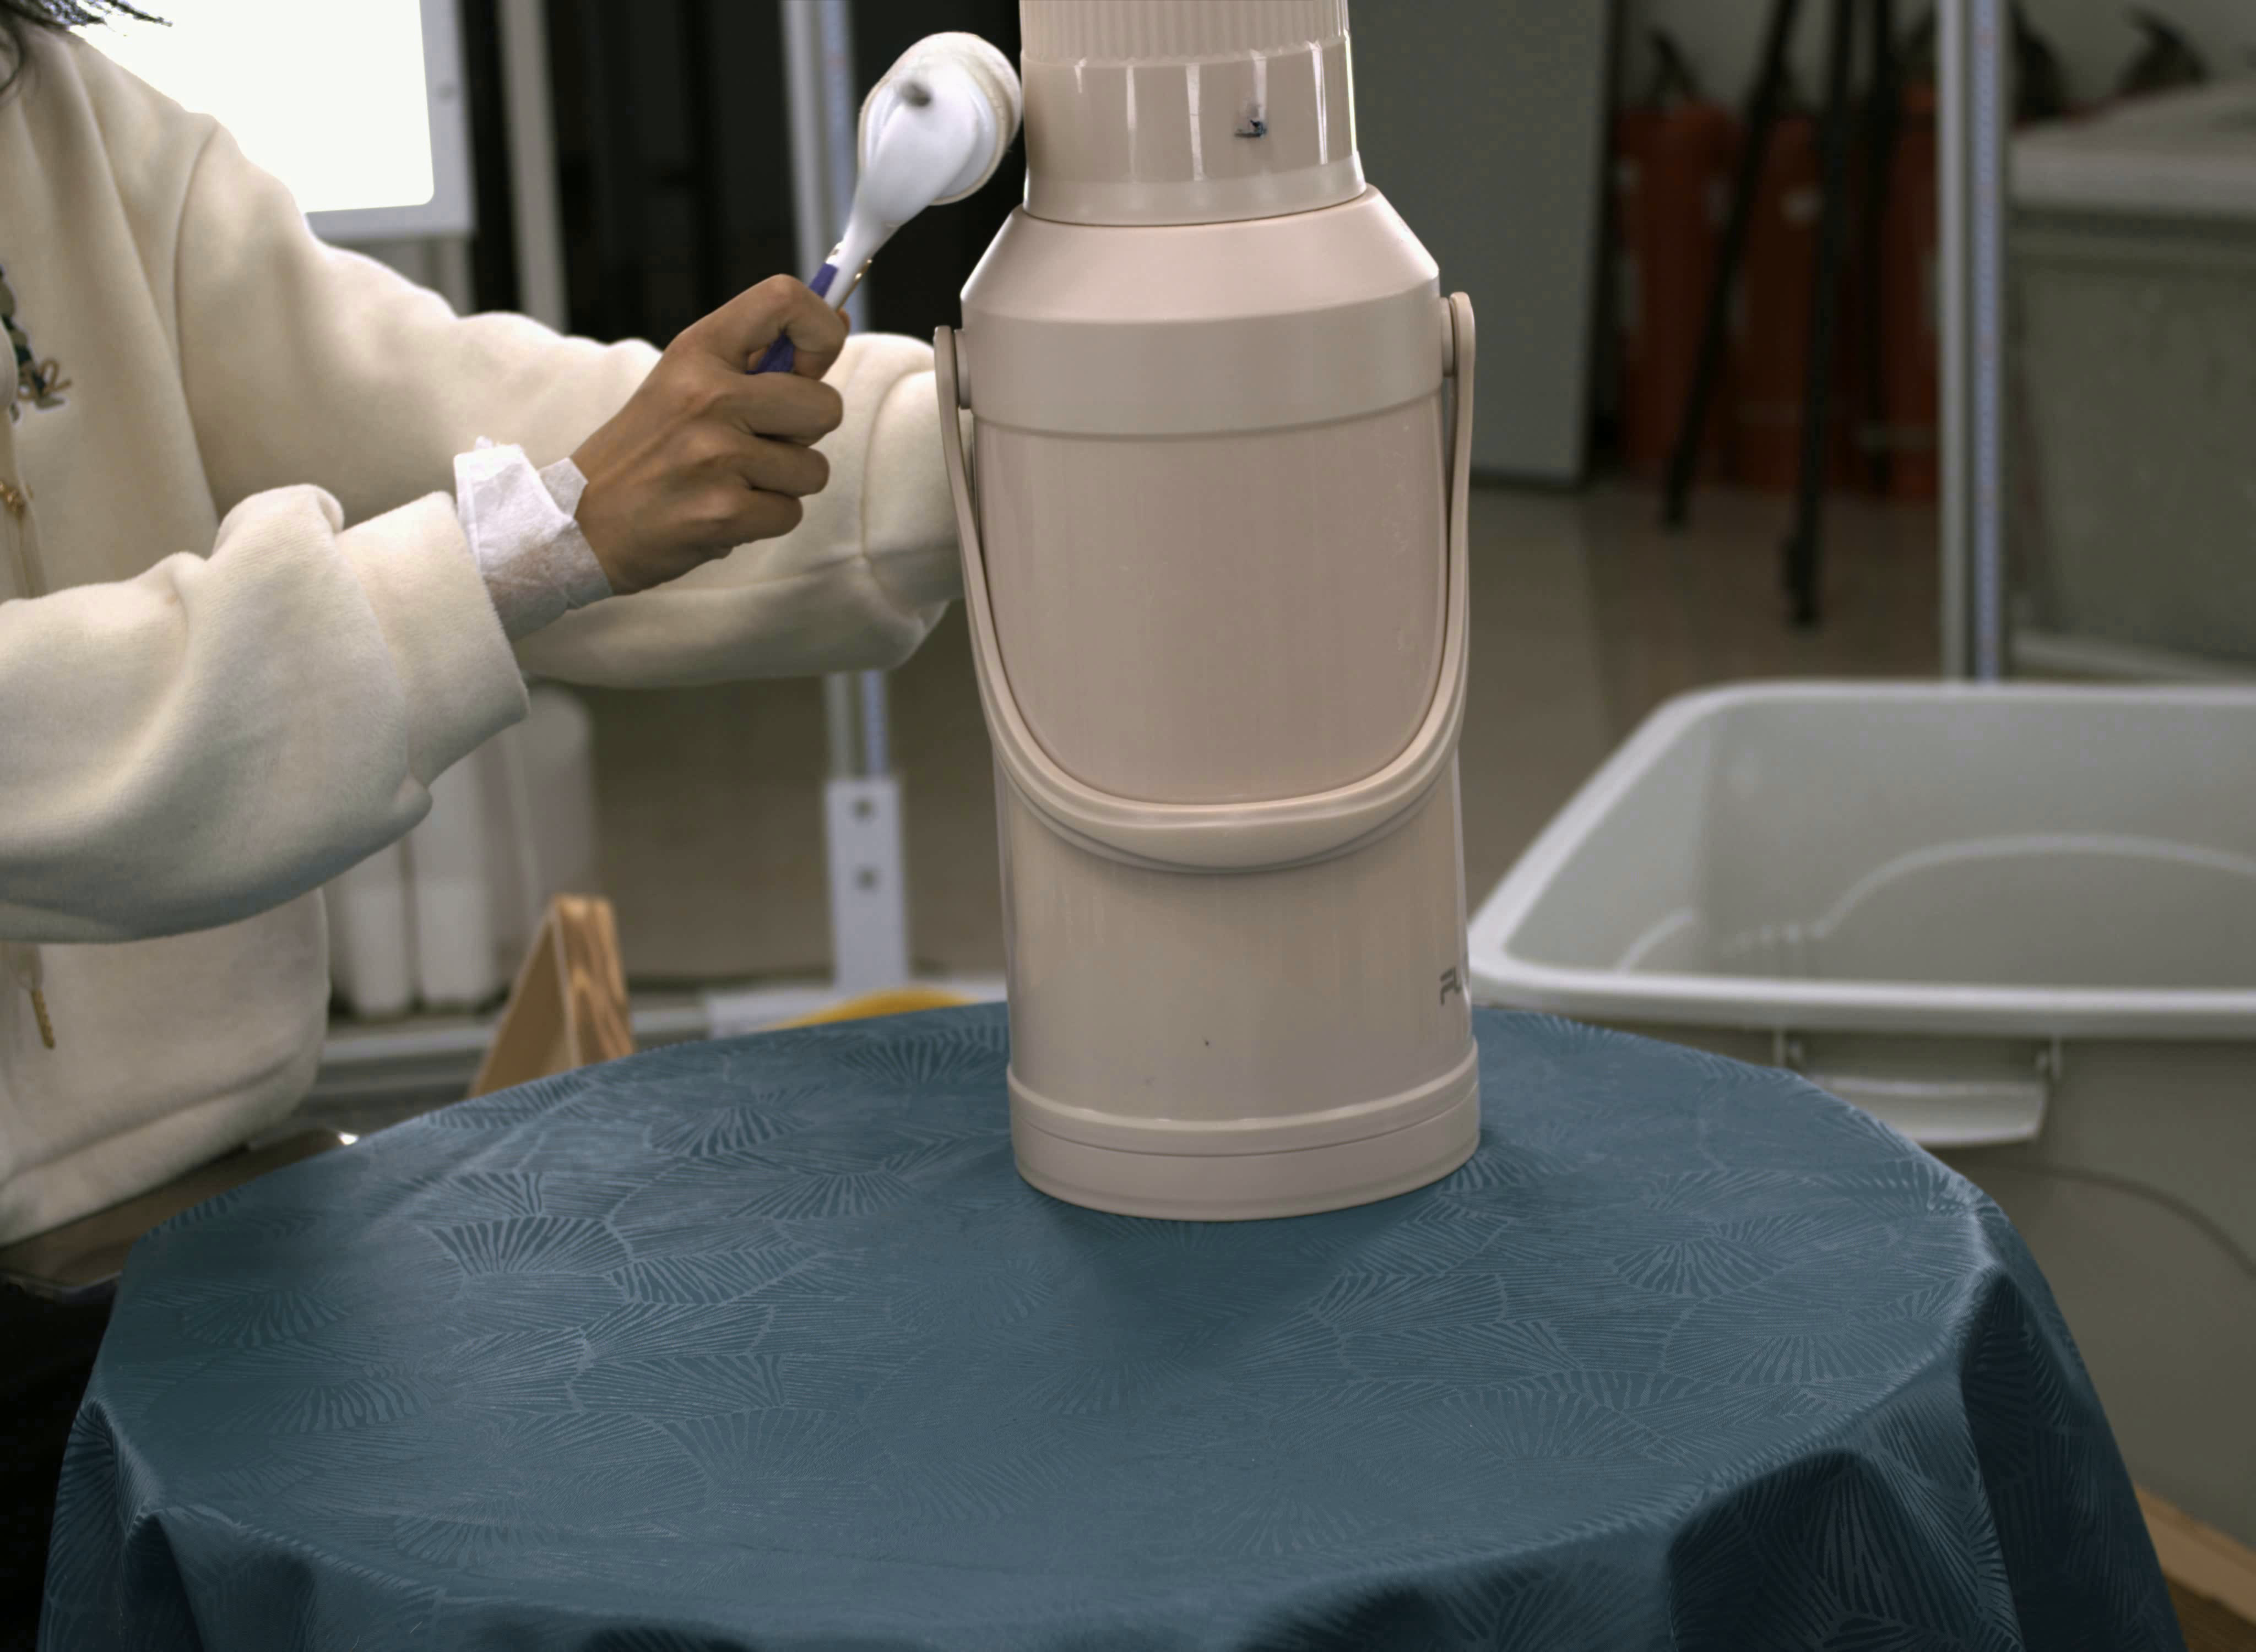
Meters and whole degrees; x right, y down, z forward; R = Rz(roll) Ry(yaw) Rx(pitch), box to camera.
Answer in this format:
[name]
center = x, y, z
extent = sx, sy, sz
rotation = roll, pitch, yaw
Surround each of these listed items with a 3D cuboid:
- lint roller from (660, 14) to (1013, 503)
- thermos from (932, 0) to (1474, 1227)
[lint roller]
center = -0.105, -0.186, 1.755
extent = 0.182, 0.050, 0.133
rotation = -47, 7, 13
[thermos]
center = 0.028, -0.088, 1.774
extent = 0.173, 0.411, 0.207
rotation = -4, 13, -1
